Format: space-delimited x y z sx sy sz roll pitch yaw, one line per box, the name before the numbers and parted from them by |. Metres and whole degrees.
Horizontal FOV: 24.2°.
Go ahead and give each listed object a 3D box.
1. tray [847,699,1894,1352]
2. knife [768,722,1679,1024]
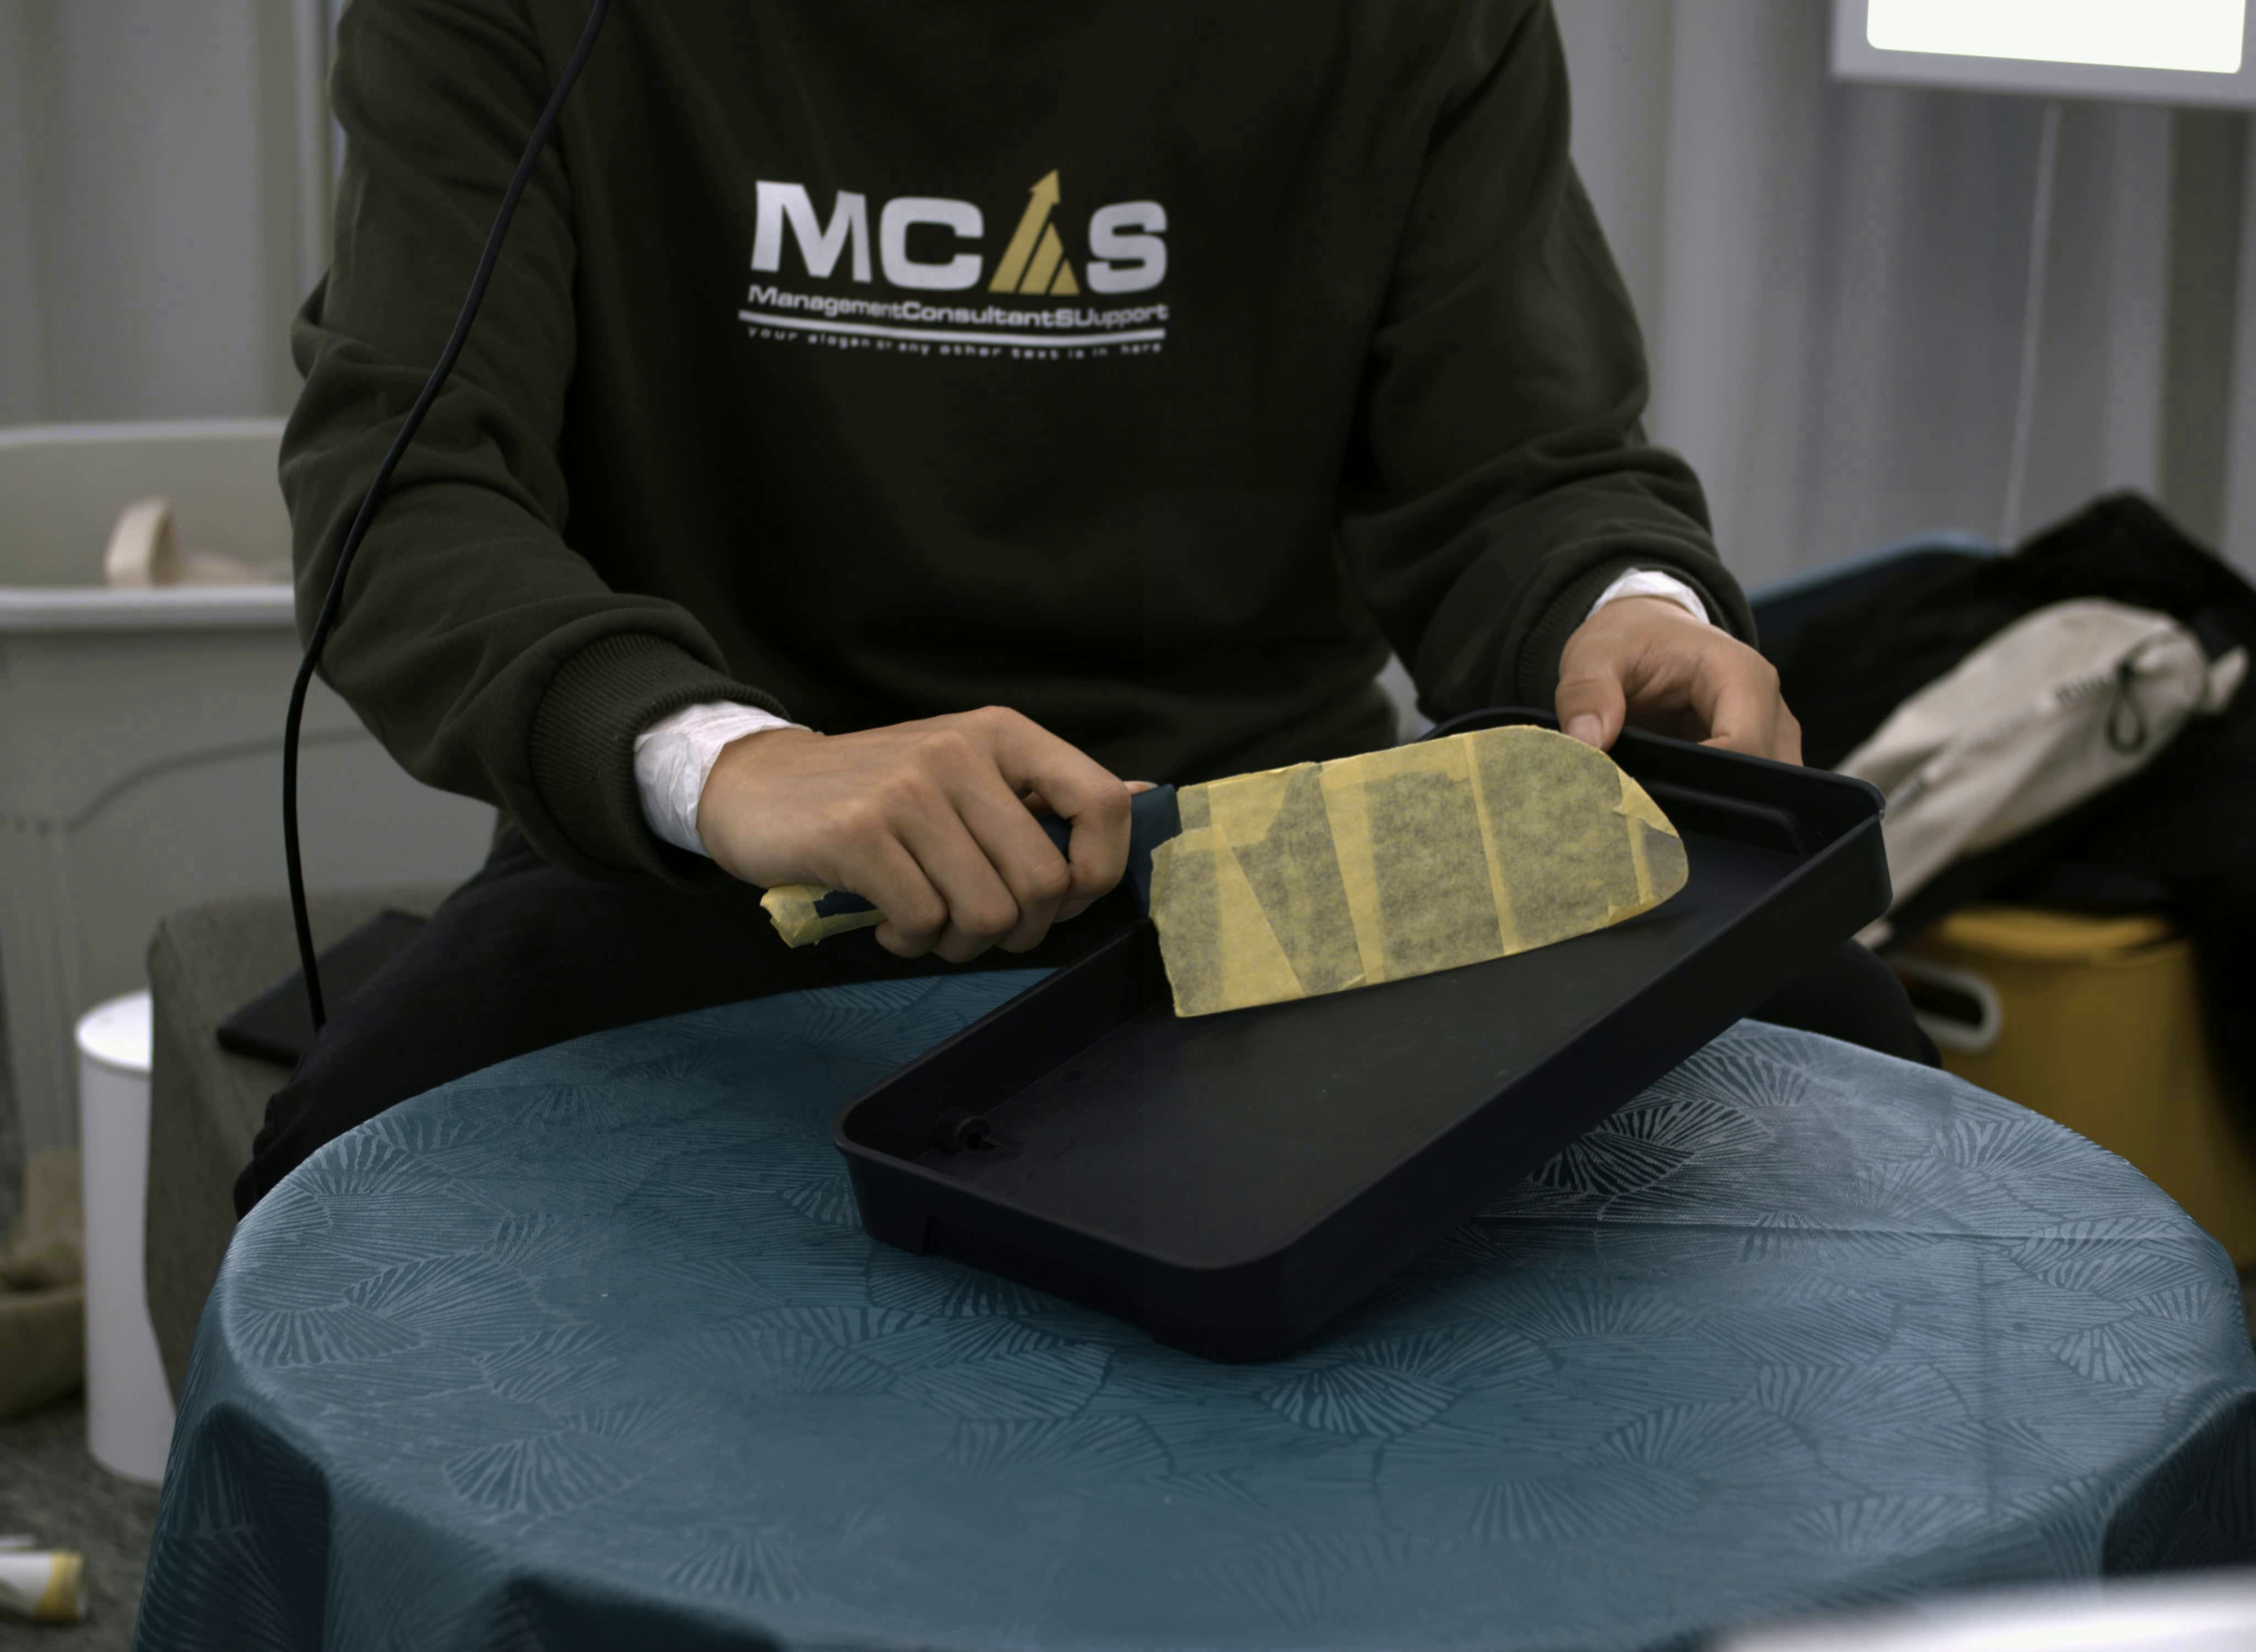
tray | 0.080 0.053 1.620 0.182 0.037 0.318 13 35 43
knife | 0.031 0.020 1.659 0.288 0.081 0.027 -8 -8 -1
